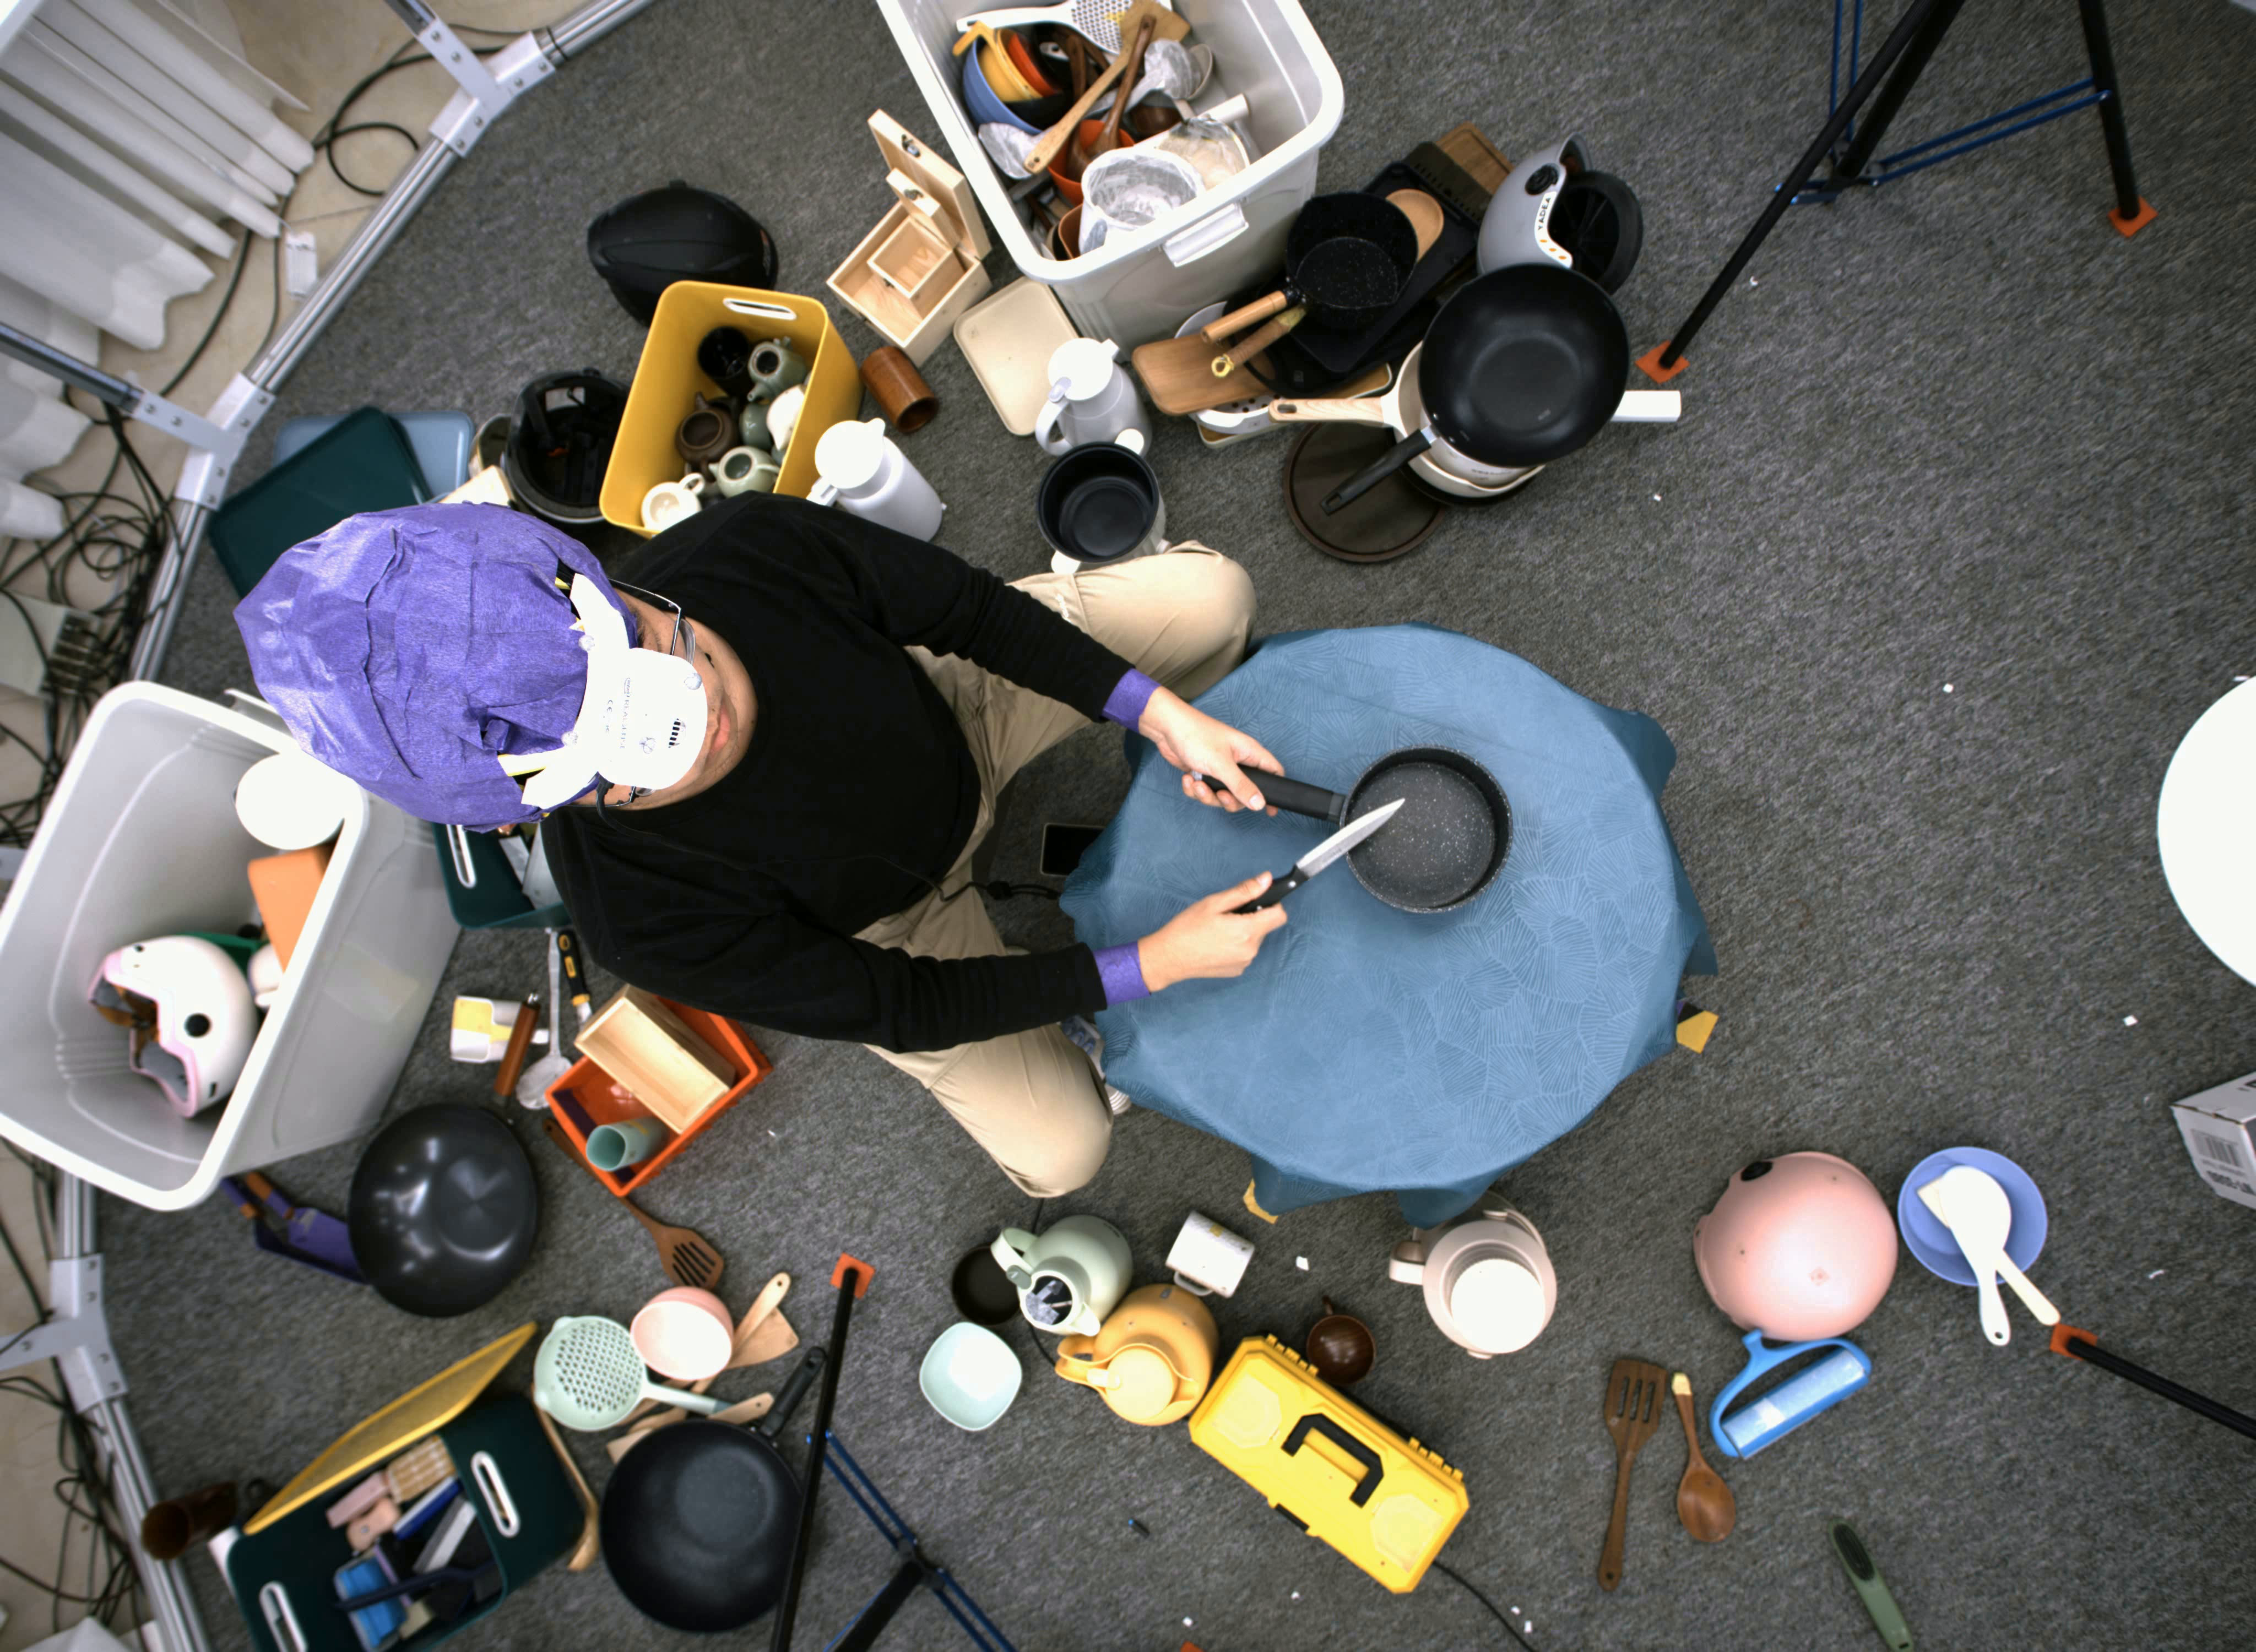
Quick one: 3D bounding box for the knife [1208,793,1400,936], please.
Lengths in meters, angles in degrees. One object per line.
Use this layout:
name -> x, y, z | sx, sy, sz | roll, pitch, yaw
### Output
knife -> 0.179, 0.039, 1.395 | 0.241, 0.016, 0.024 | -38, 106, 15

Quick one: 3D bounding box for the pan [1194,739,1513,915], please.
pan -> 0.228, -0.019, 1.424 | 0.329, 0.086, 0.171 | 18, 89, 8
